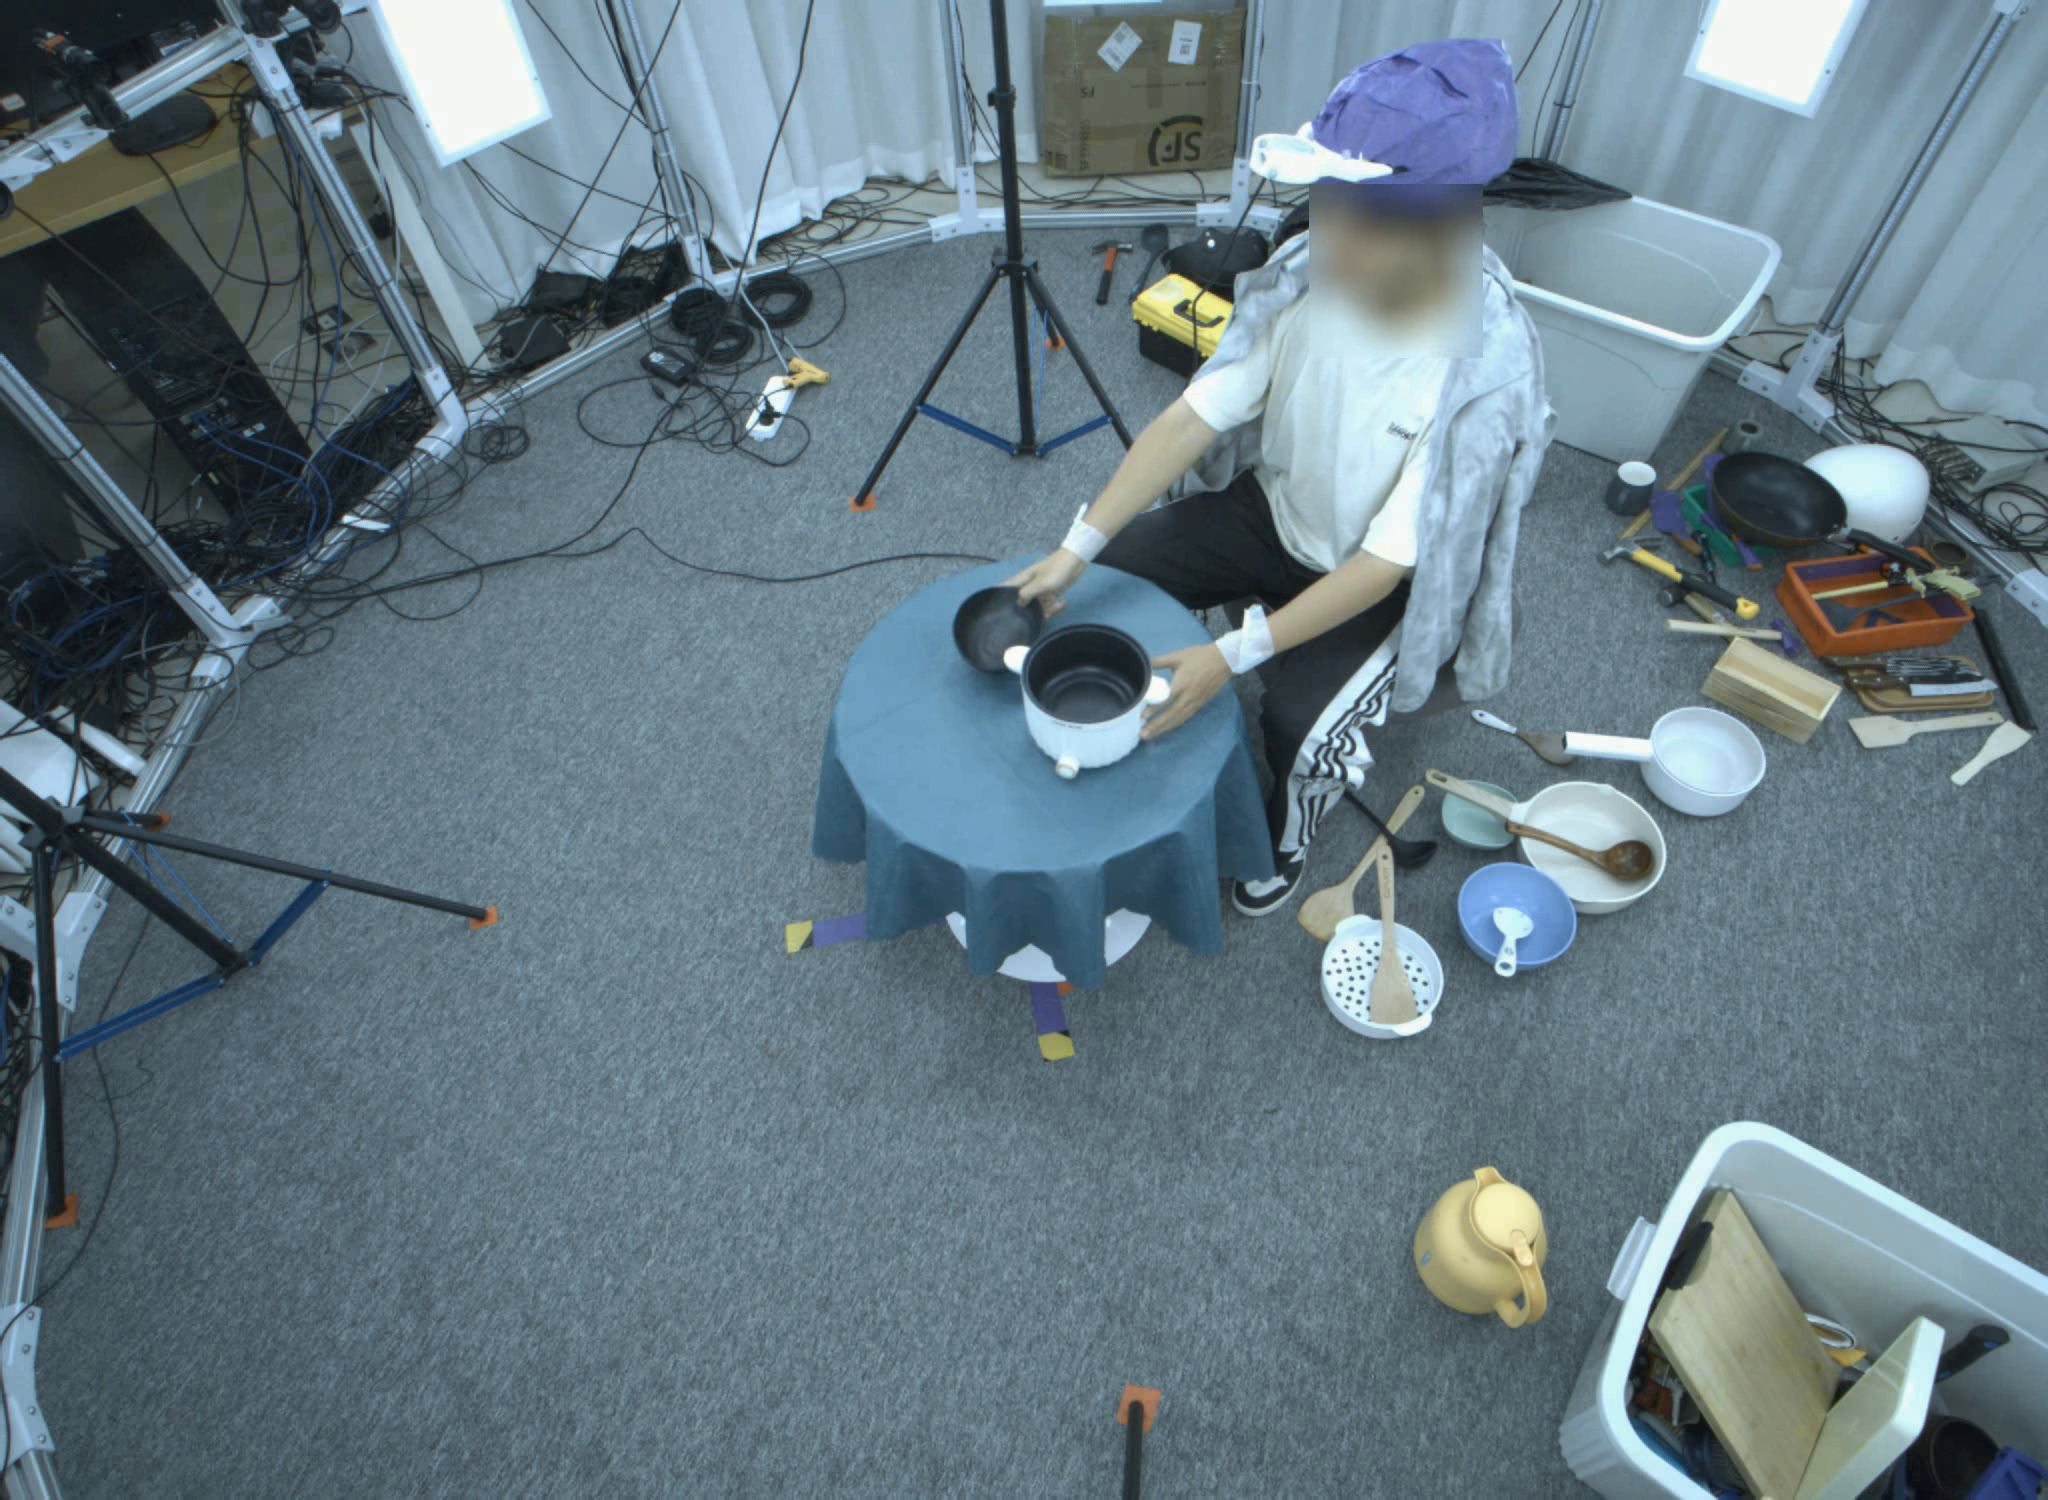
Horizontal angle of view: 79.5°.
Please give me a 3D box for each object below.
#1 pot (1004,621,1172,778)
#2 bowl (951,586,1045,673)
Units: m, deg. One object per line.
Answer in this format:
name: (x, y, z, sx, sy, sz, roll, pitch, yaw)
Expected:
pot: (0.089, -0.067, 1.749, 0.238, 0.144, 0.190, 13, 53, 12)
bowl: (-0.038, -0.176, 1.862, 0.136, 0.067, 0.169, 13, 57, 7)
